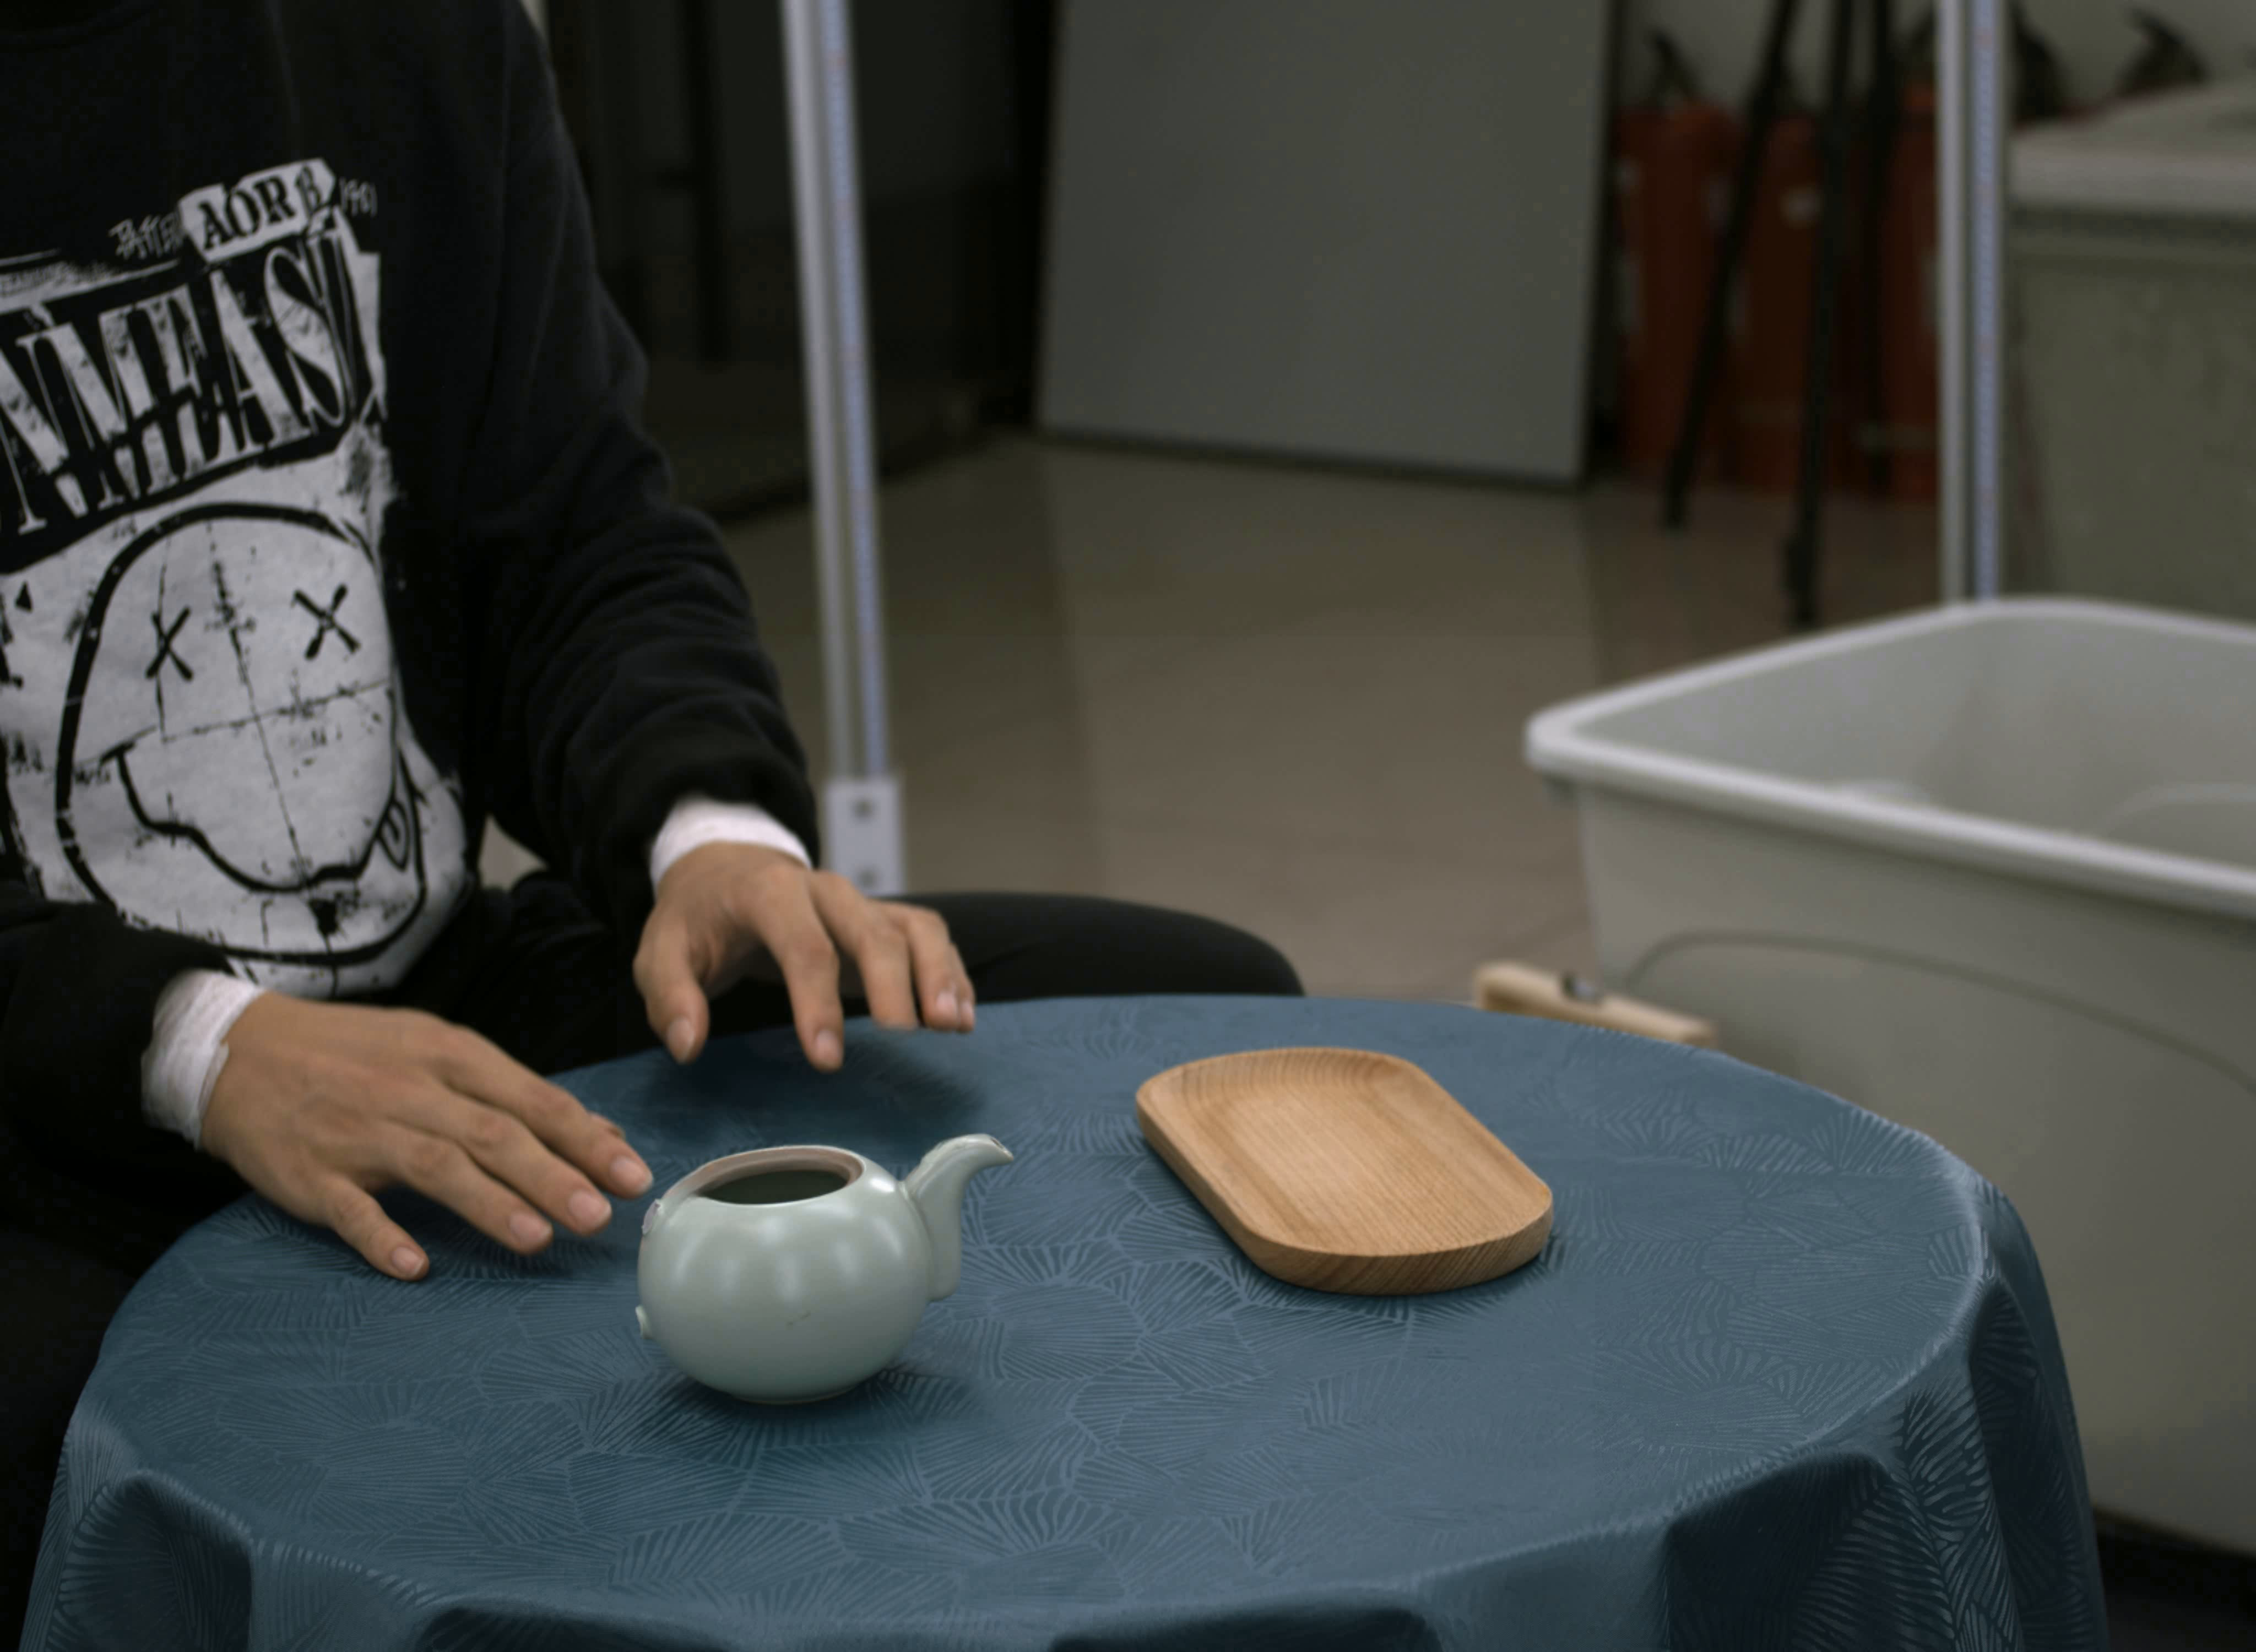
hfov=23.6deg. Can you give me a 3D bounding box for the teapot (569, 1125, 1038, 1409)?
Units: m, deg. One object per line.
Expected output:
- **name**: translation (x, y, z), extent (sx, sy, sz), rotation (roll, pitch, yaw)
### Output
- **teapot**: translation (-0.094, 0.132, 1.611), extent (0.141, 0.075, 0.088), rotation (-6, 13, -5)

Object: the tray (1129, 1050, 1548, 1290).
- **tray**: translation (0.067, 0.111, 1.763), extent (0.100, 0.020, 0.233), rotation (-6, 12, -13)
